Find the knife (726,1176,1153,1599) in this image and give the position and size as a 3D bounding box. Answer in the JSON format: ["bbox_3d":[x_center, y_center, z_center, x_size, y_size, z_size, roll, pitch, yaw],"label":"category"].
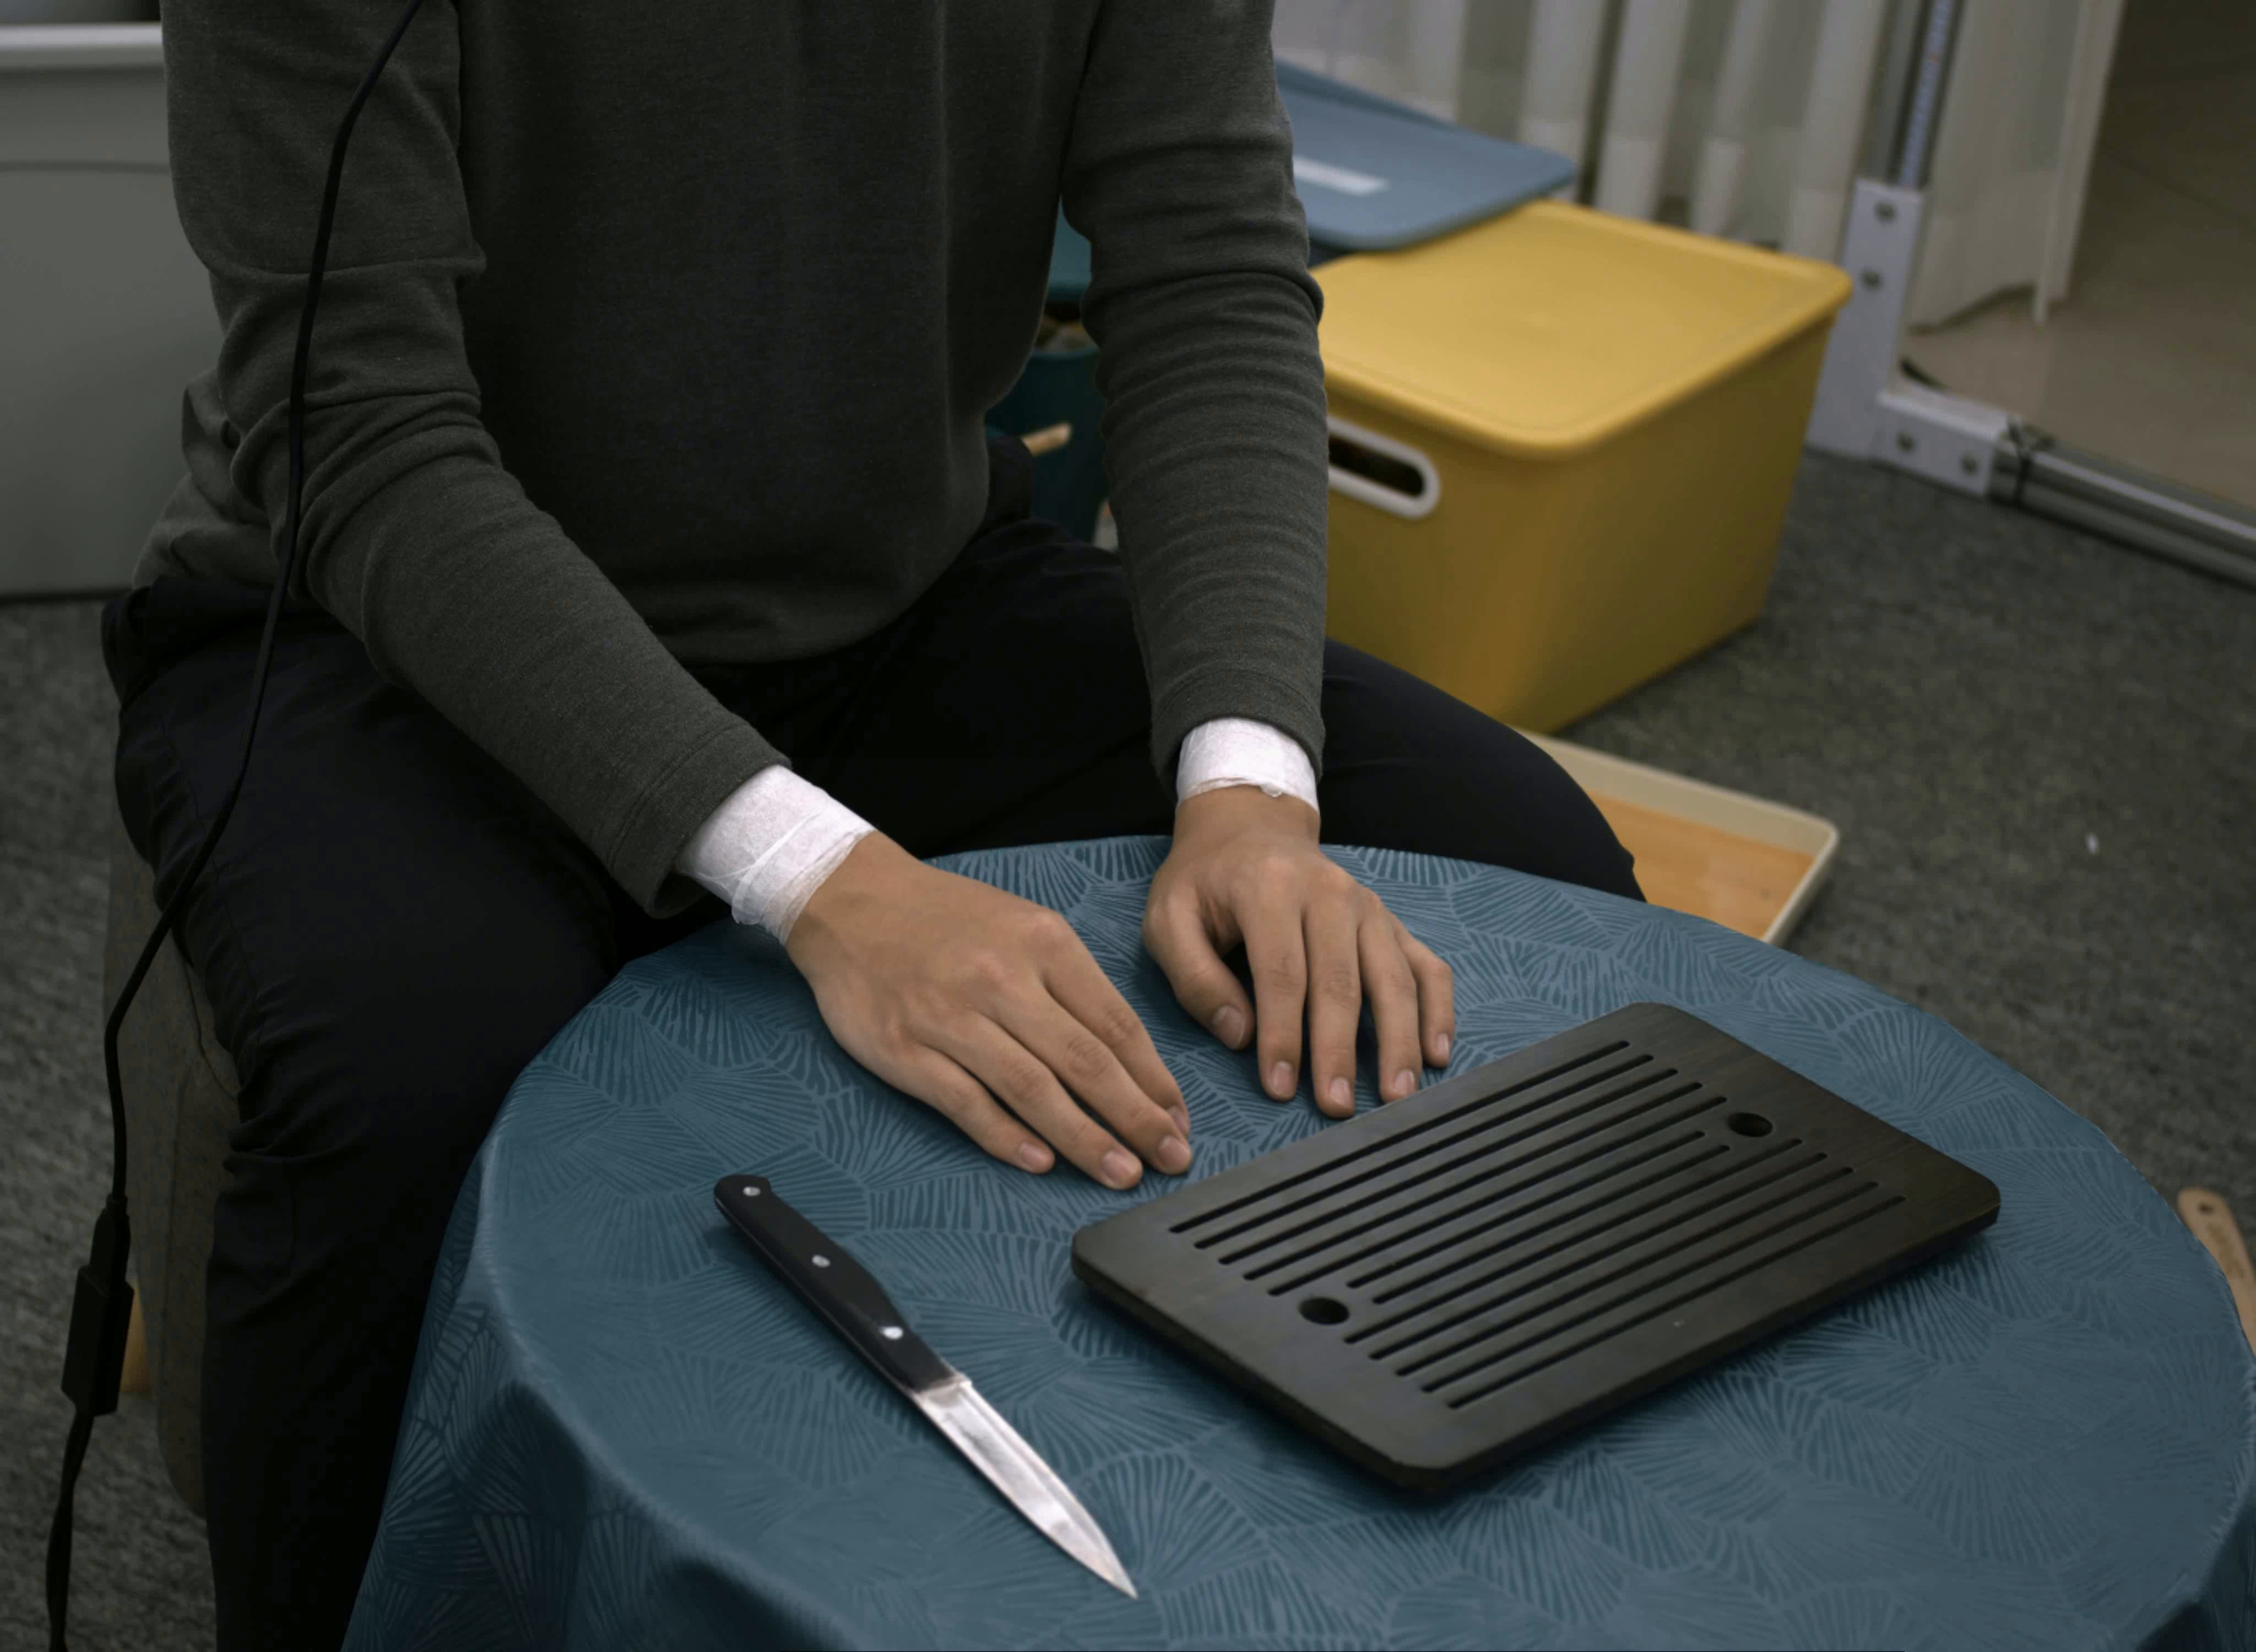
[{"bbox_3d":[-0.063,0.177,1.674,0.024,0.016,0.240,-14,36,-32],"label":"knife"}]

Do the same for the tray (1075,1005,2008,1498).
[{"bbox_3d":[0.142,0.139,1.787,0.304,0.018,0.171,-19,35,-41],"label":"tray"}]
